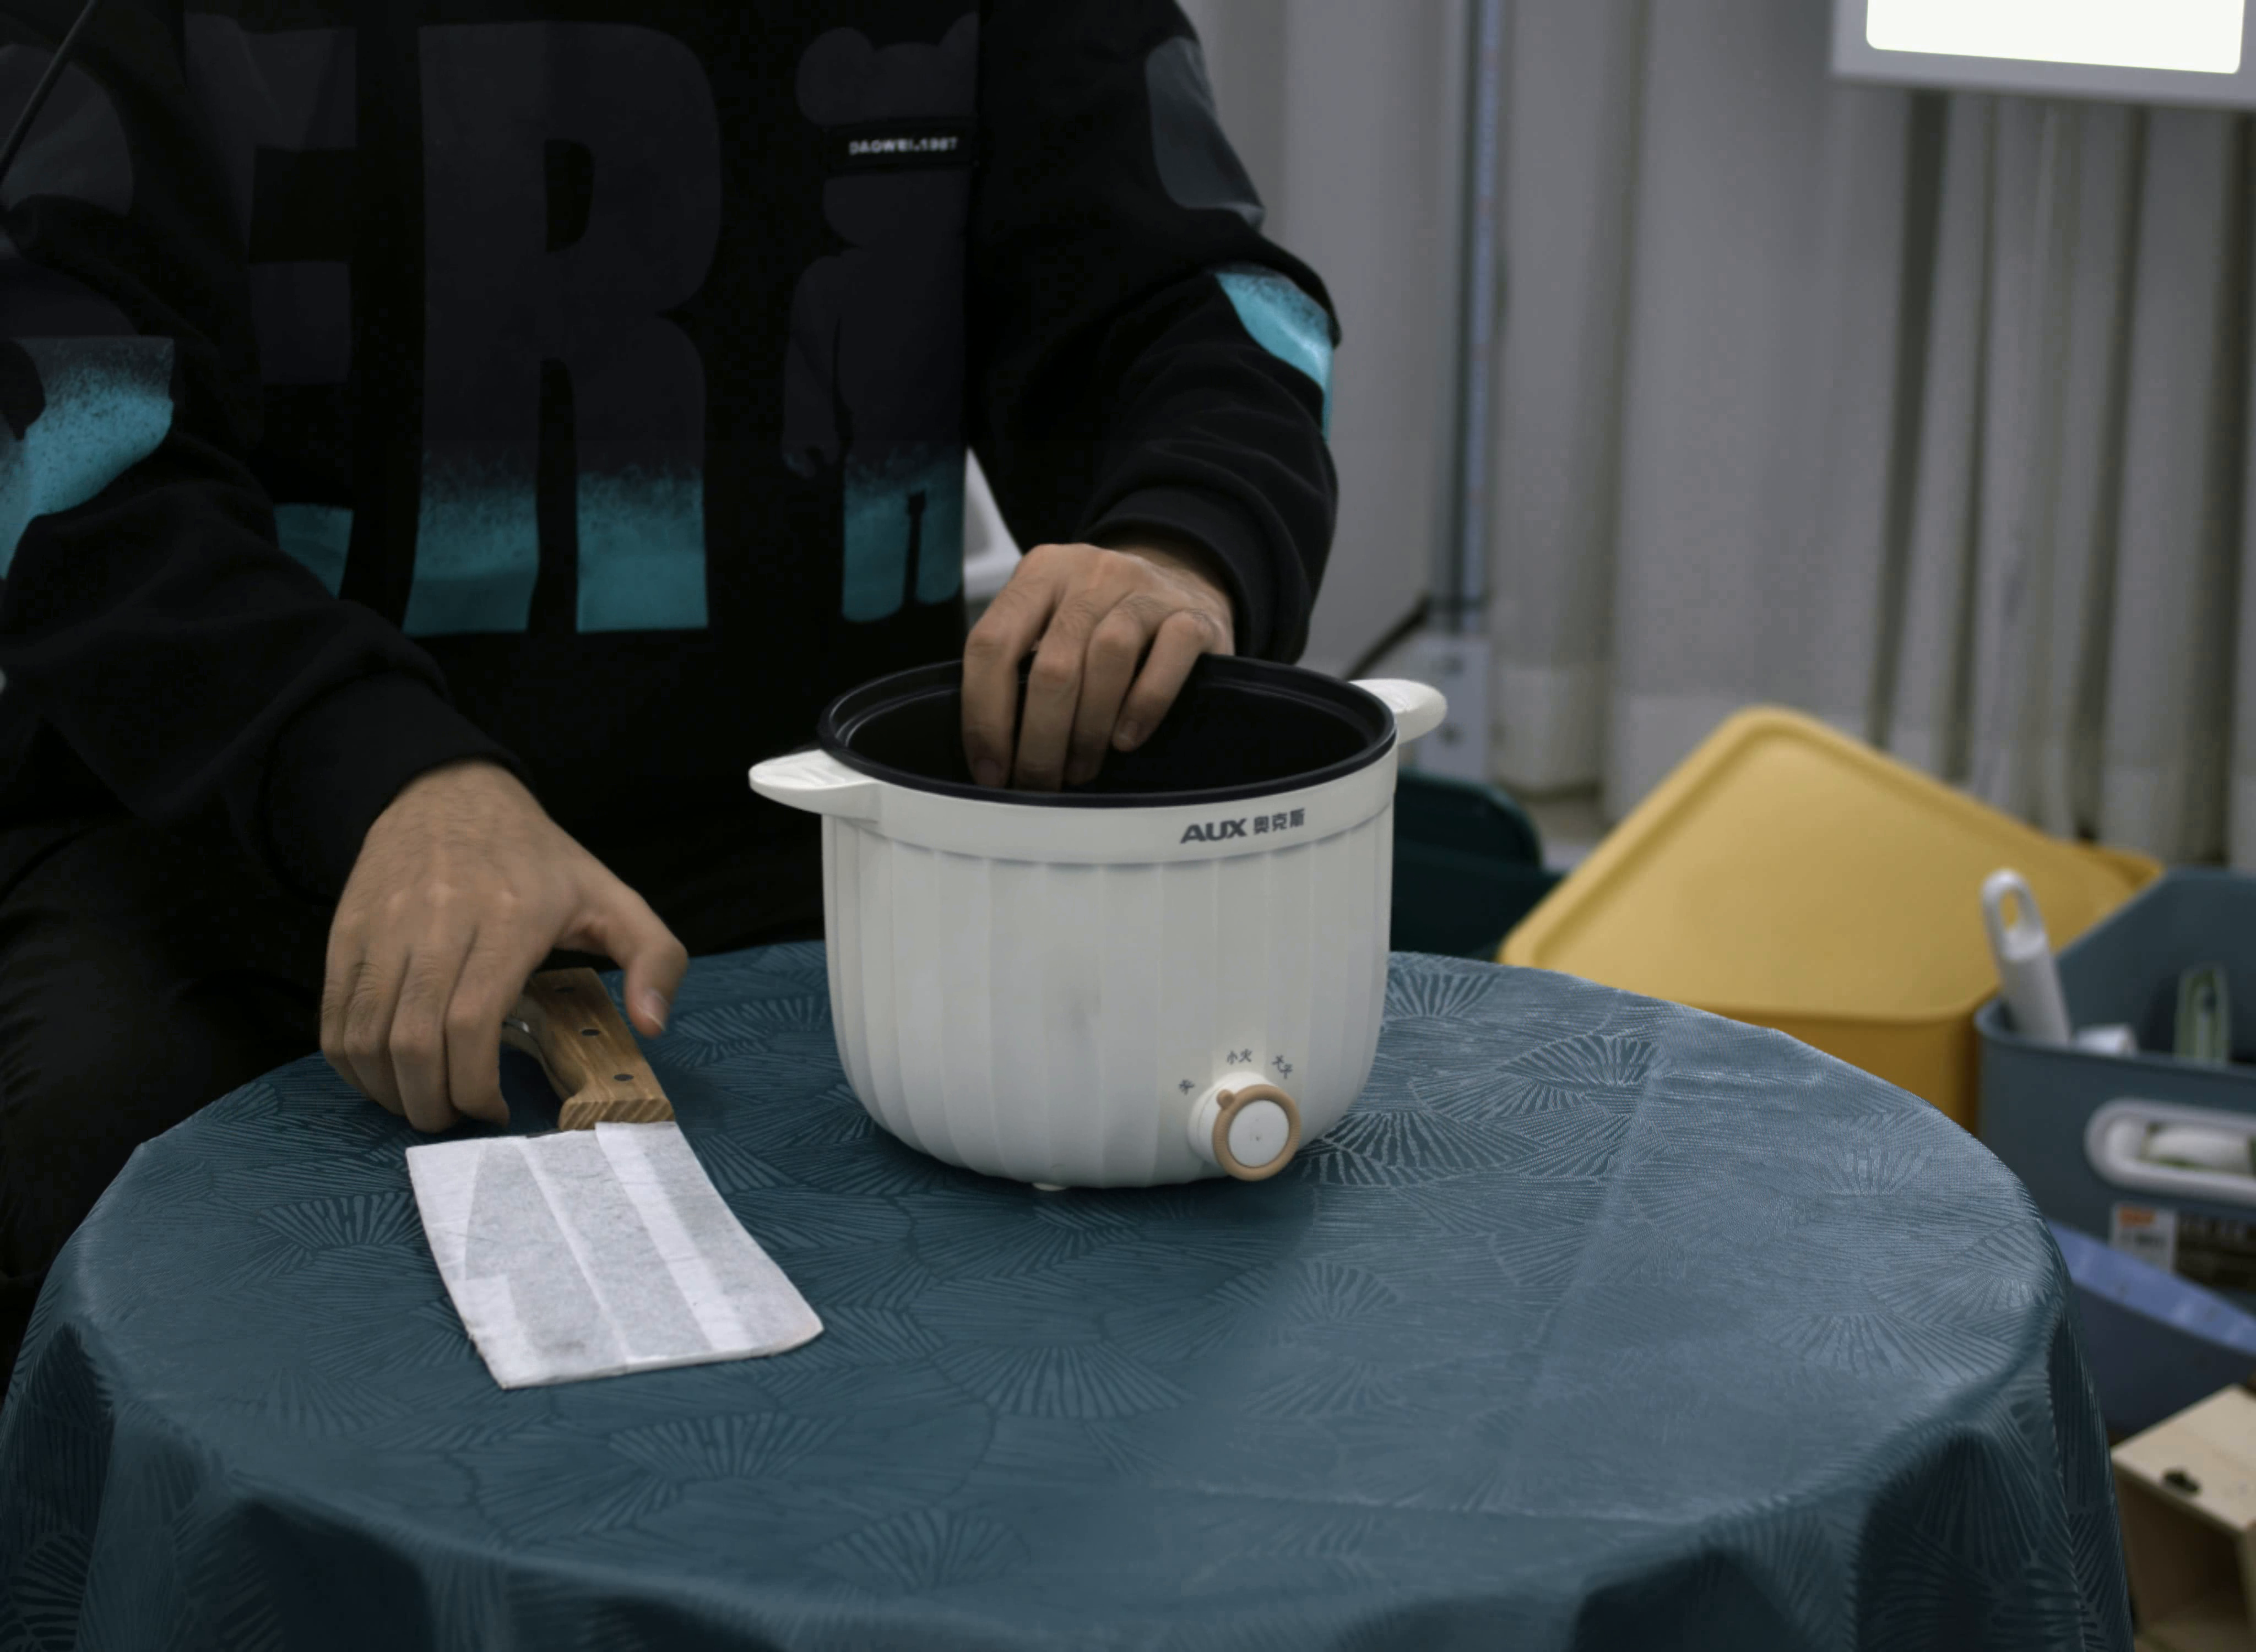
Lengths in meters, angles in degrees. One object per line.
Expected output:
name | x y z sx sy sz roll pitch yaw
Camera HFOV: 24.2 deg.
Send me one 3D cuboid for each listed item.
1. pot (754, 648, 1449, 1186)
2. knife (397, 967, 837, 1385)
pot | -0.001 0.031 1.654 0.241 0.144 0.188 -9 15 -27
knife | -0.165 0.105 1.611 0.114 0.022 0.312 -3 19 -12
